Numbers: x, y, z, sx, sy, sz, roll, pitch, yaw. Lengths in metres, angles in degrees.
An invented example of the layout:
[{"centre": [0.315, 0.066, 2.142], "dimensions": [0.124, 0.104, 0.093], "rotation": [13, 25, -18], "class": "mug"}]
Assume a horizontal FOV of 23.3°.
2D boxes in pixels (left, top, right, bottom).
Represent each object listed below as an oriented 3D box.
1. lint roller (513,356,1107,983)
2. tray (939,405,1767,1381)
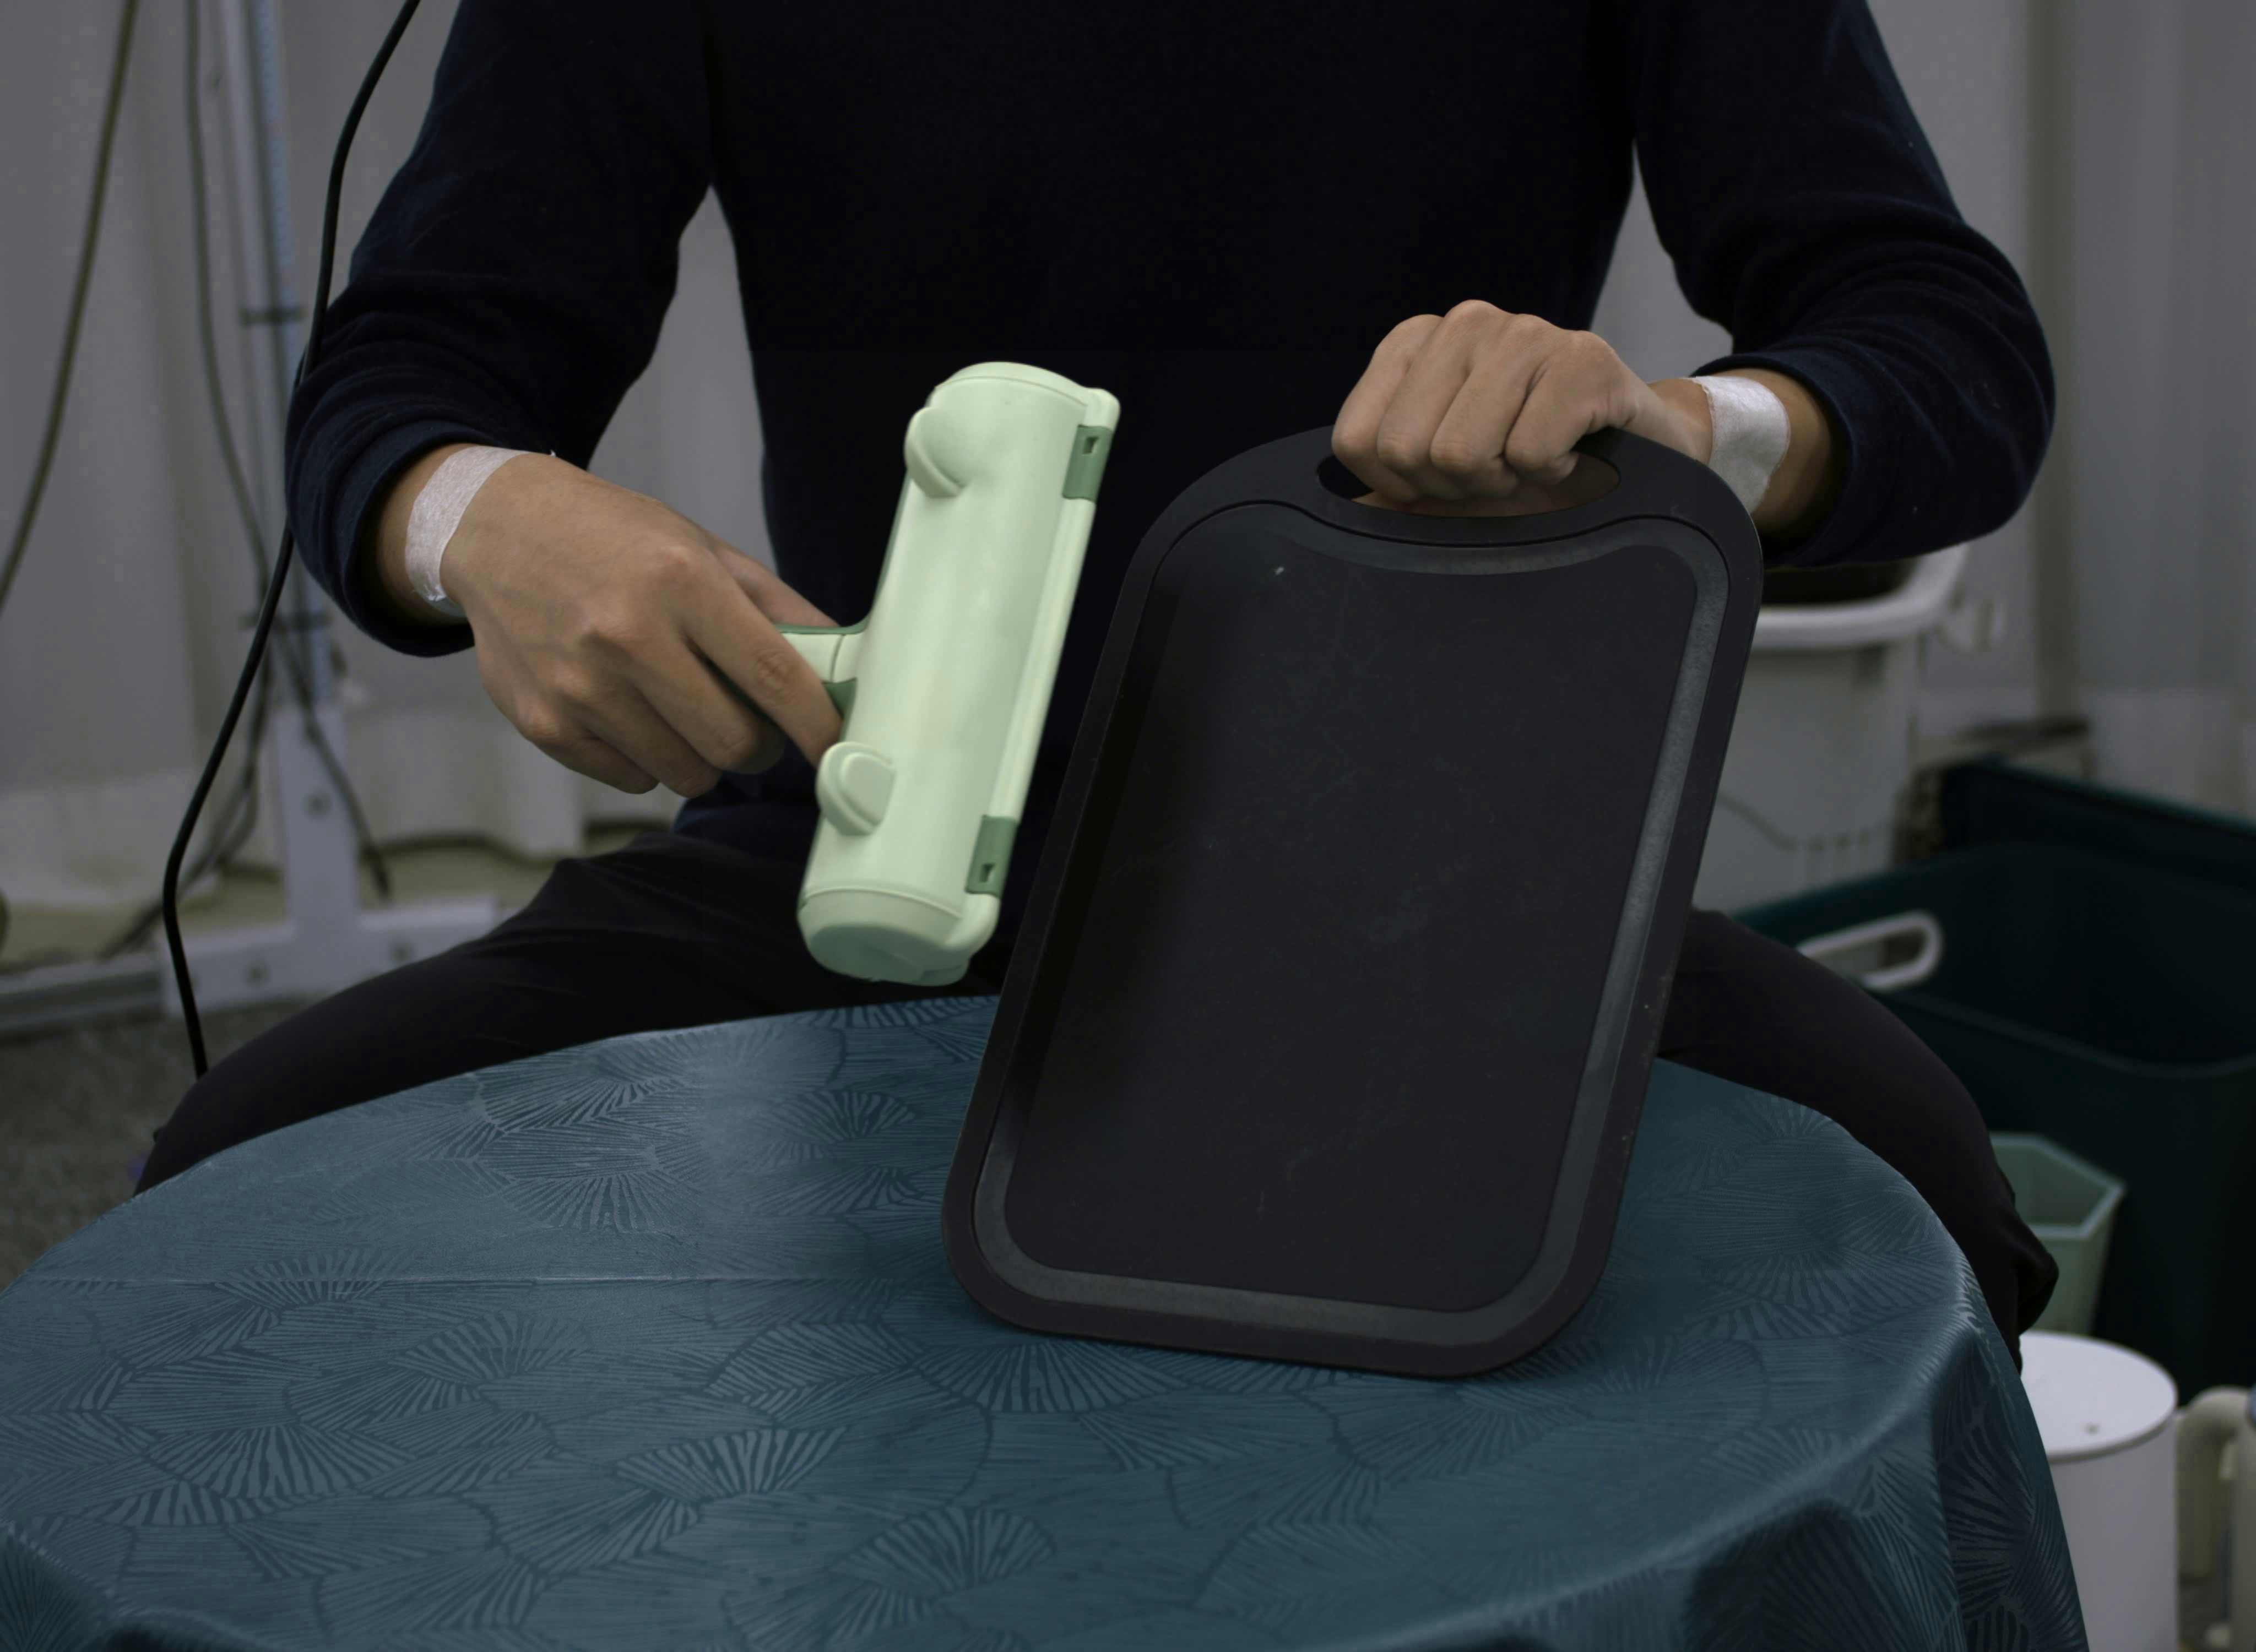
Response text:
[{"centre": [-0.111, -0.055, 1.660], "dimensions": [0.183, 0.201, 0.081], "rotation": [5, -27, 16], "class": "lint roller"}, {"centre": [0.069, 0.010, 1.636], "dimensions": [0.211, 0.329, 0.009], "rotation": [4, -28, 25], "class": "tray"}]
